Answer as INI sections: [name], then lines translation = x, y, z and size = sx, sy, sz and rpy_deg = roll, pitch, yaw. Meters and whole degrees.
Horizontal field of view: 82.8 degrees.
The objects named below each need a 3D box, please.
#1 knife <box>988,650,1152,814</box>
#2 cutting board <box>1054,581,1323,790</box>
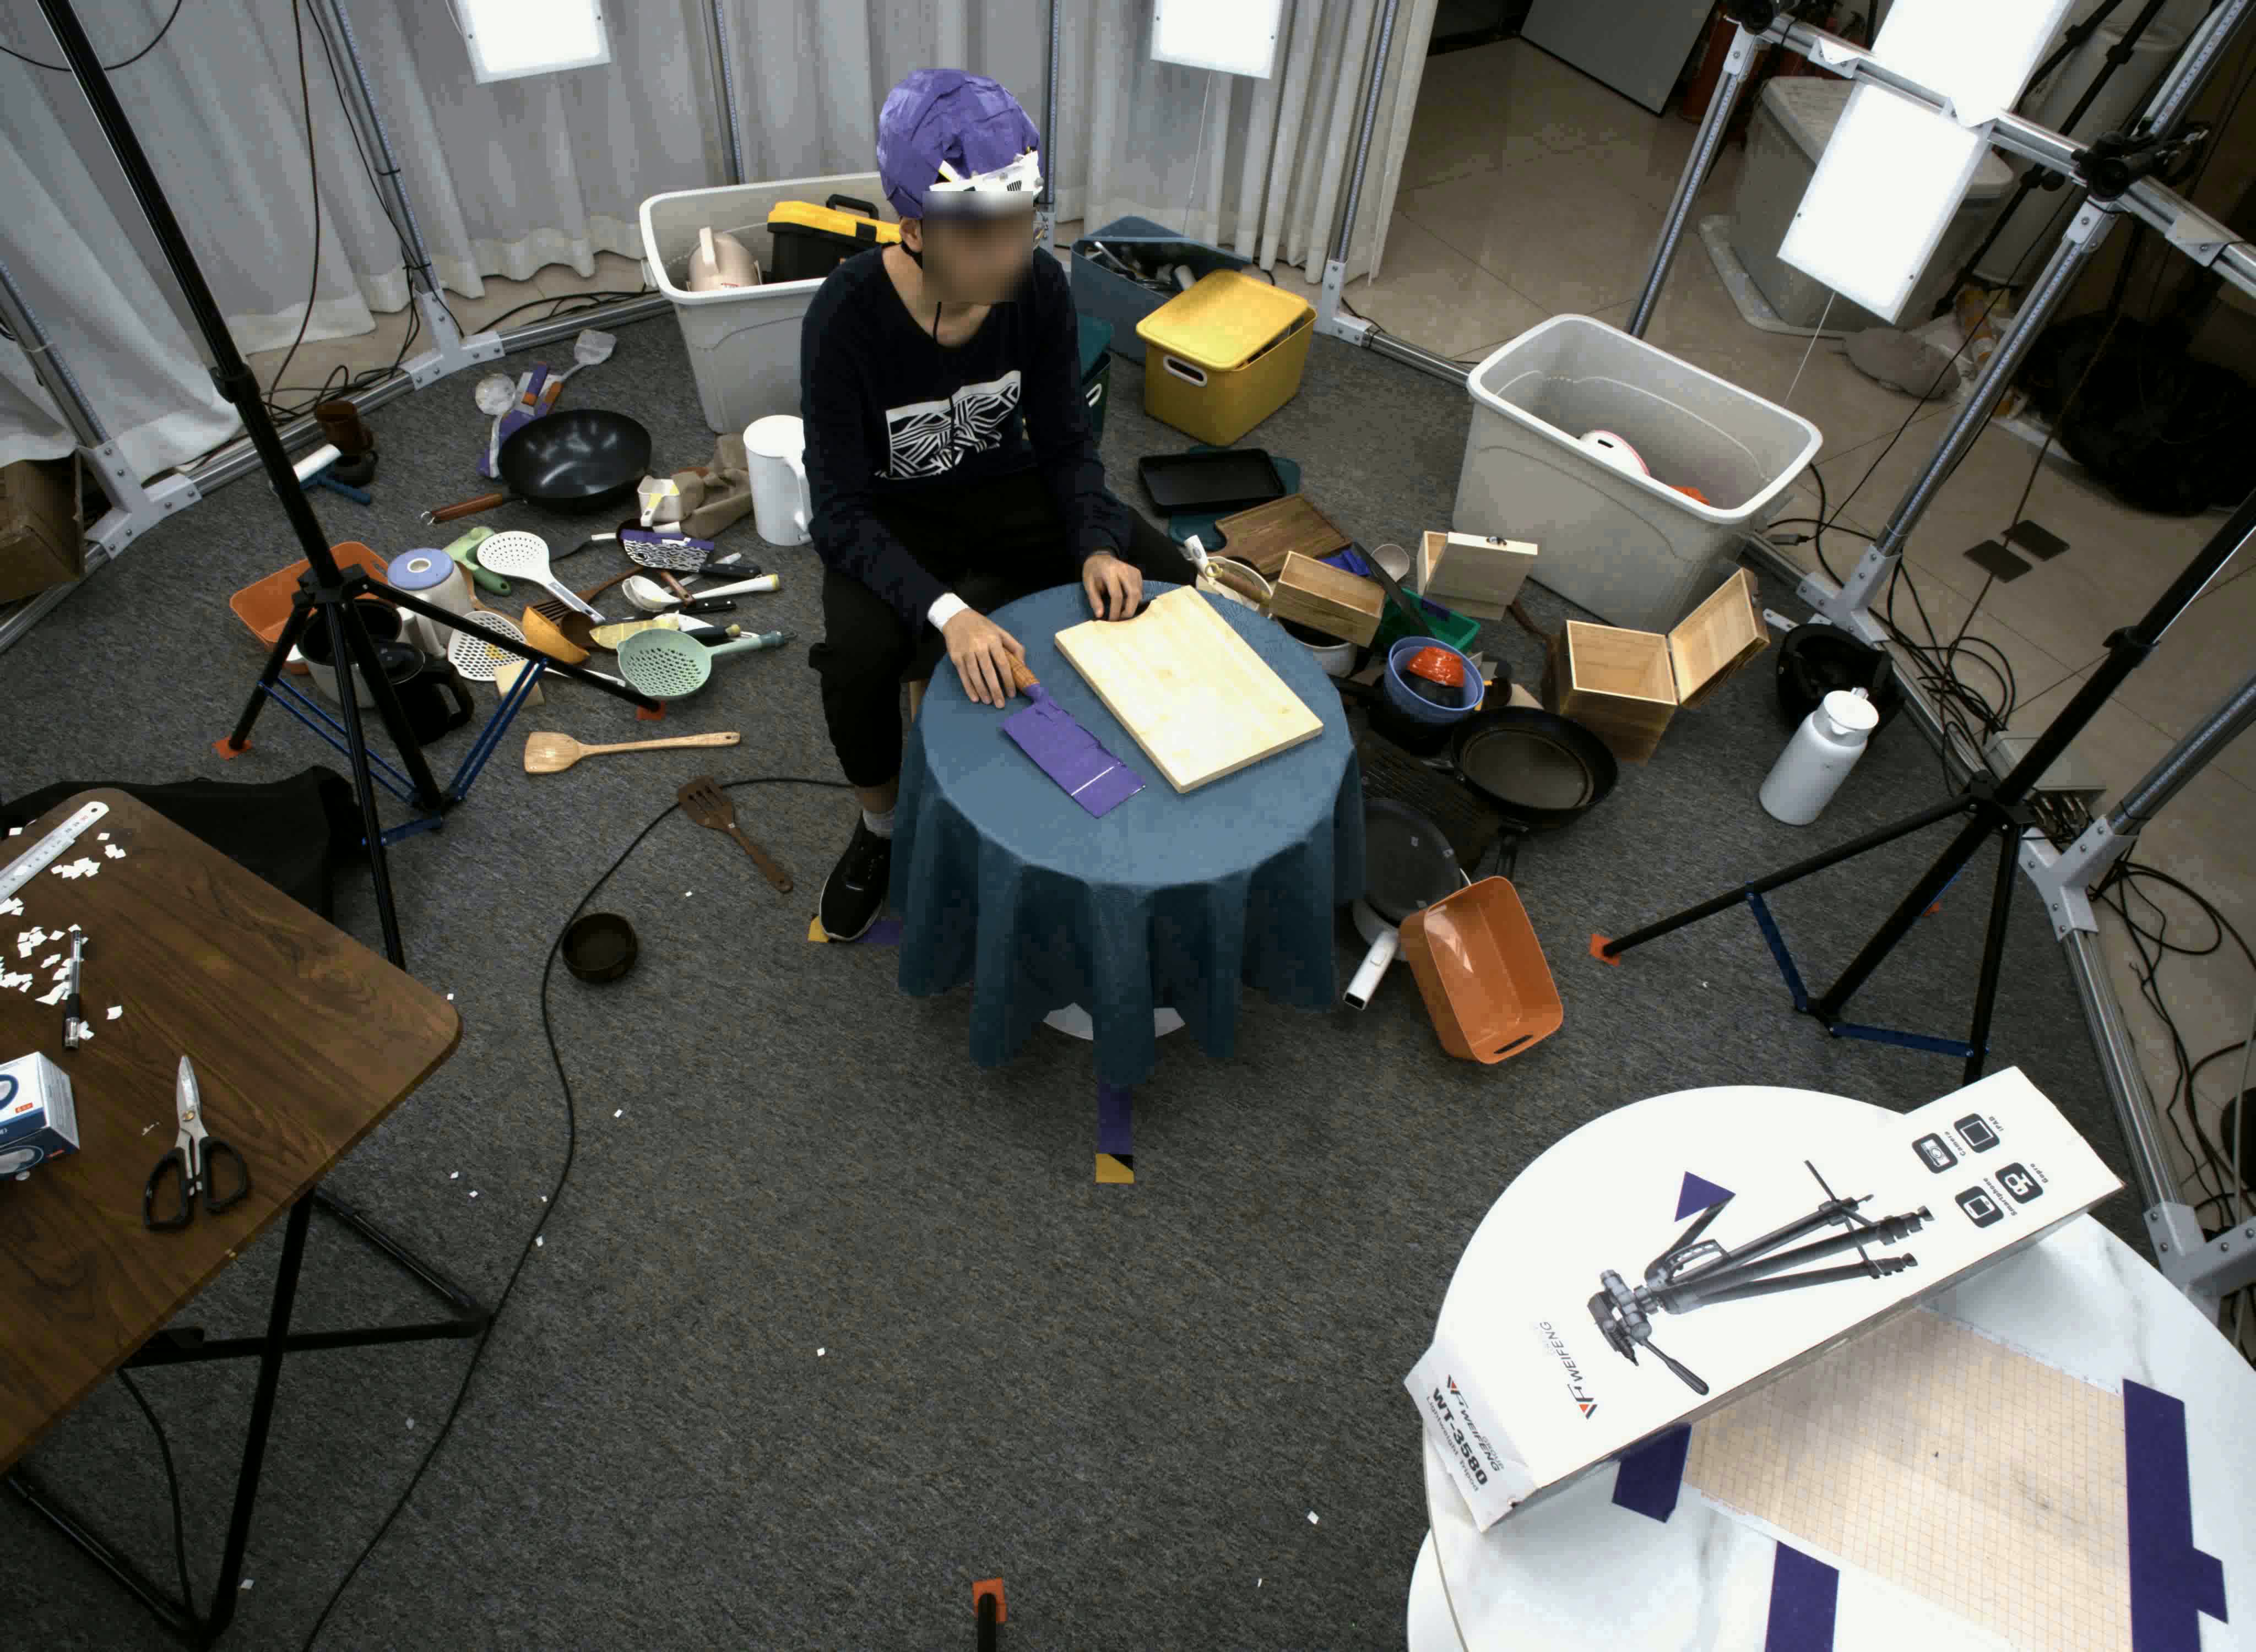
[knife]
translation = -0.108, -0.133, 1.758
size = 0.104, 0.031, 0.320
rpy_deg = -32, 59, -28
[cutting board]
translation = 0.081, -0.210, 1.844
size = 0.251, 0.023, 0.356
rpy_deg = -23, 54, -22
